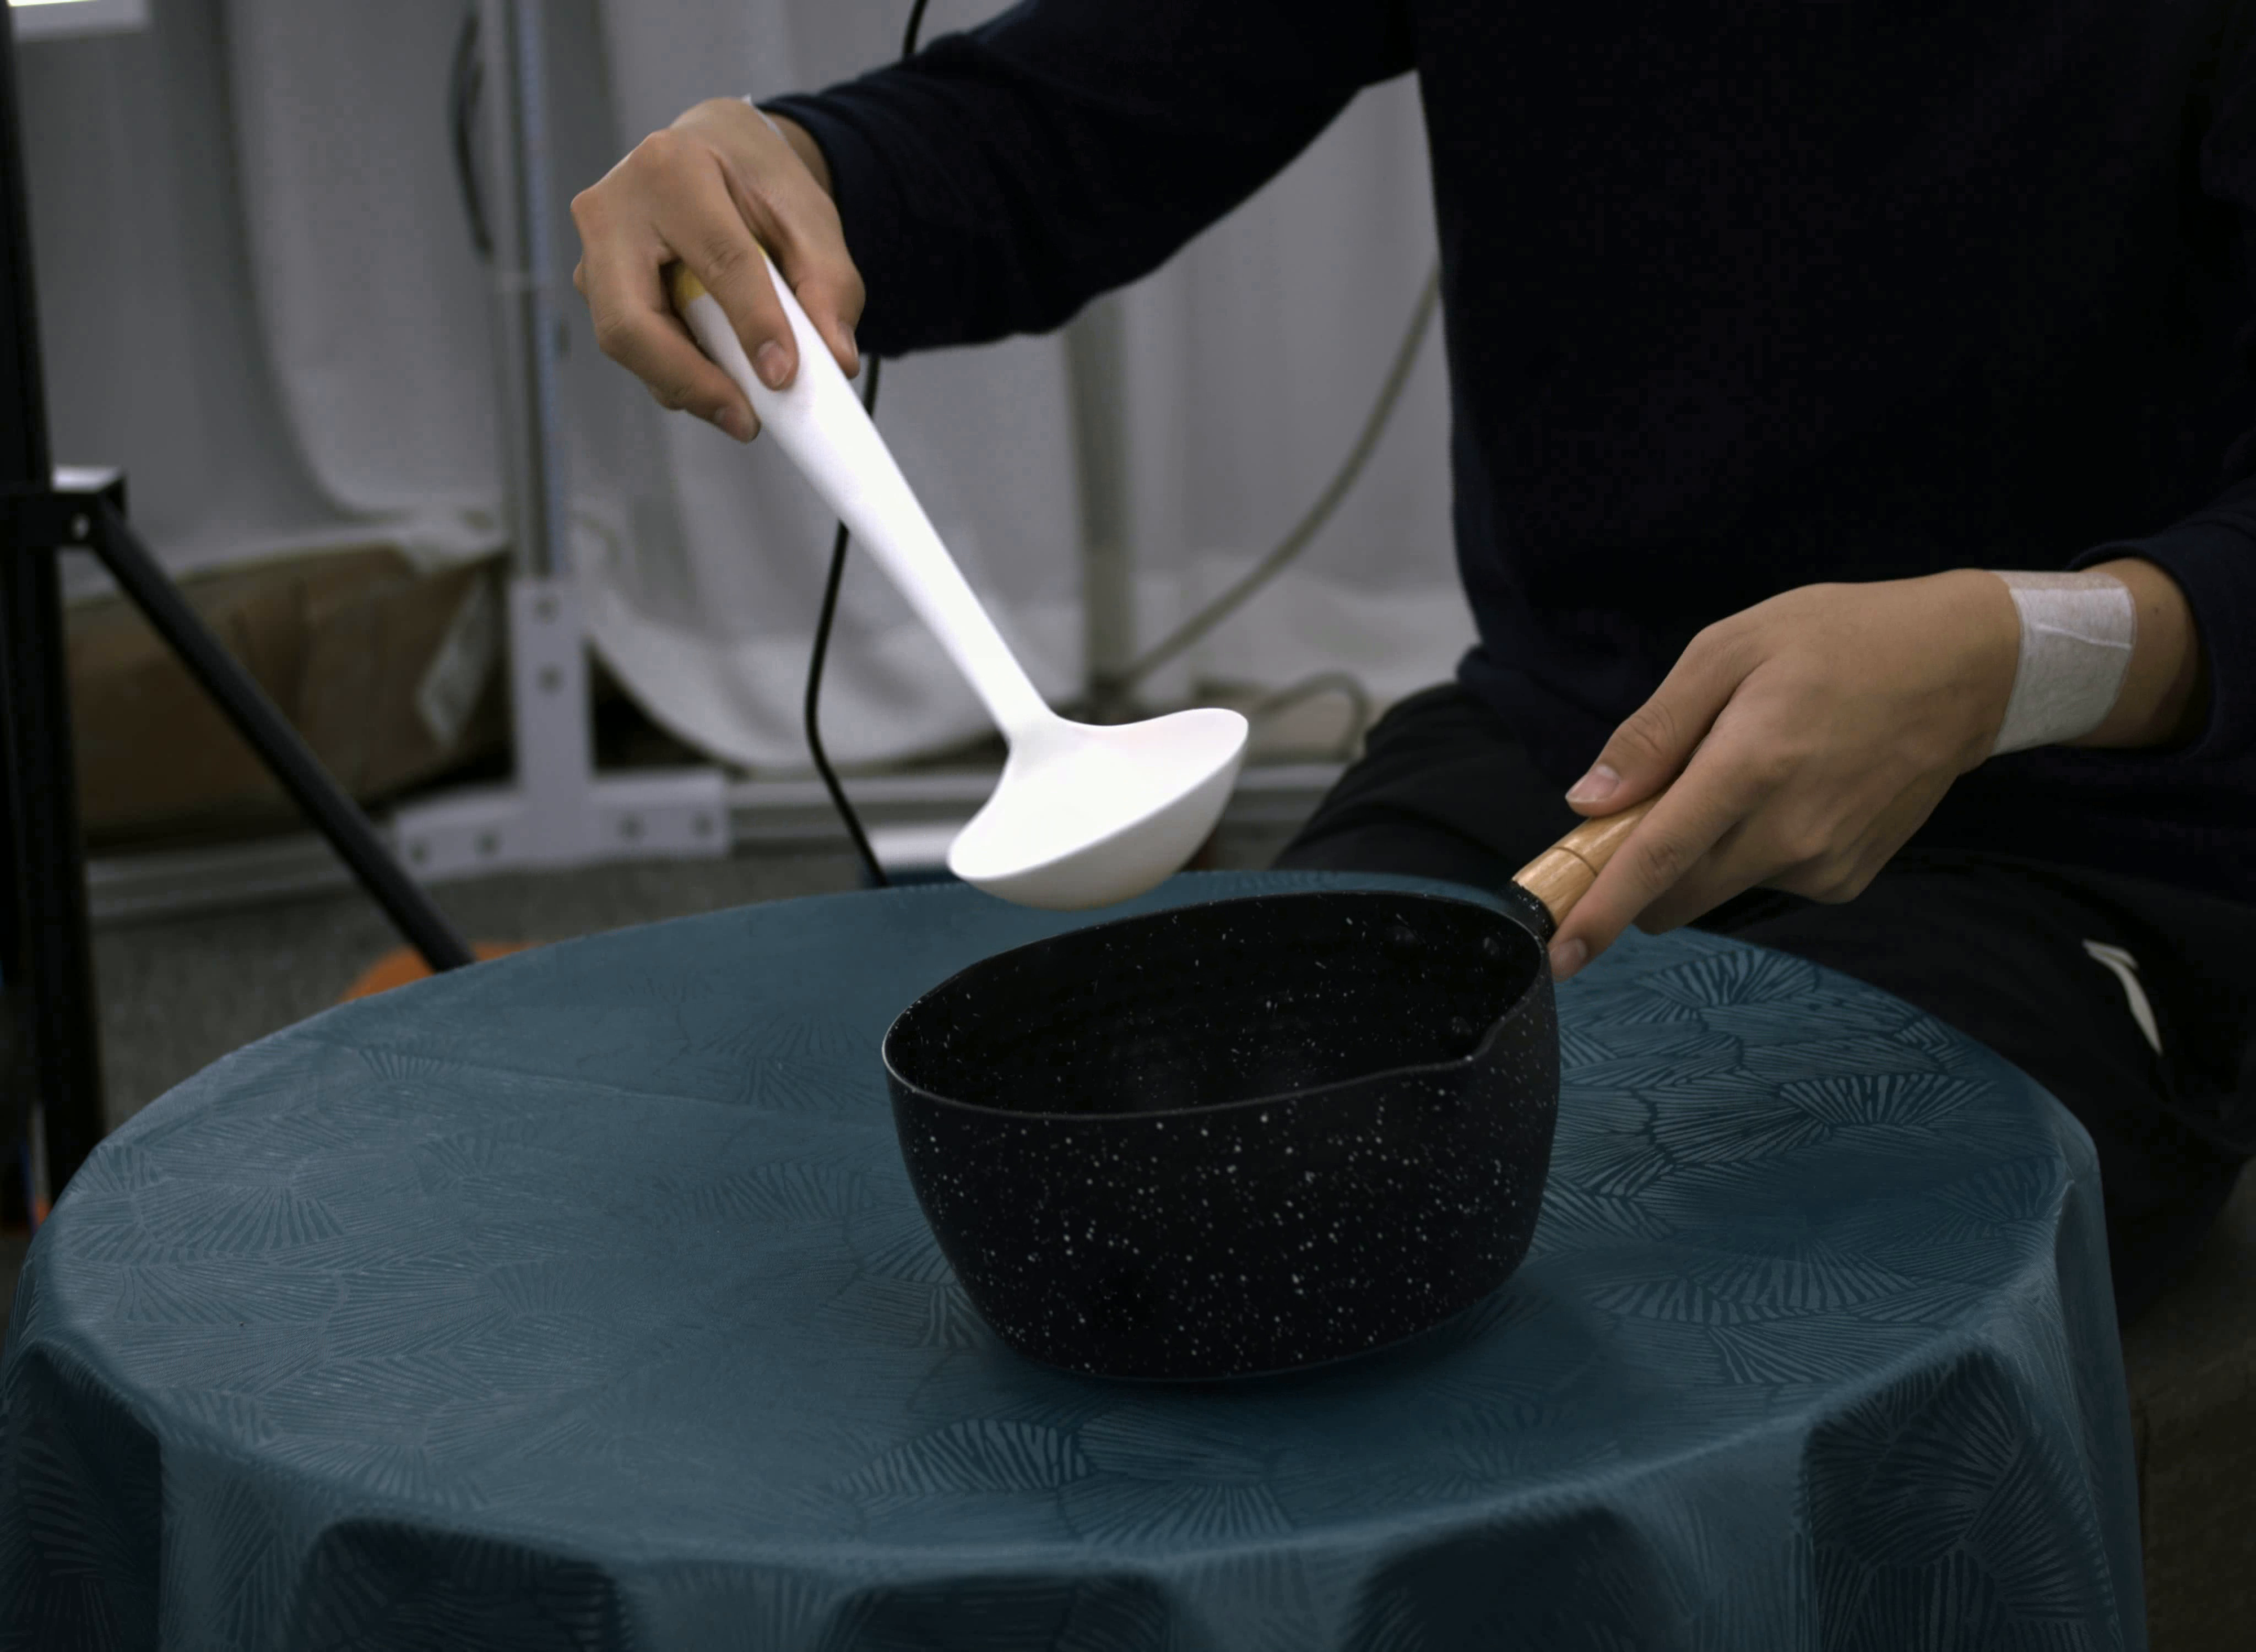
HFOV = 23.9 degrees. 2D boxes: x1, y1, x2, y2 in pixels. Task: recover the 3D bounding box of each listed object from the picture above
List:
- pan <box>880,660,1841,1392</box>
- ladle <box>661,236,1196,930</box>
[{"bbox_3d":[0.086,0.053,1.494,0.336,0.108,0.212,-23,20,-37],"label":"pan"},{"bbox_3d":[-0.068,-0.078,1.519,0.090,0.068,0.299,-33,53,0],"label":"ladle"}]
